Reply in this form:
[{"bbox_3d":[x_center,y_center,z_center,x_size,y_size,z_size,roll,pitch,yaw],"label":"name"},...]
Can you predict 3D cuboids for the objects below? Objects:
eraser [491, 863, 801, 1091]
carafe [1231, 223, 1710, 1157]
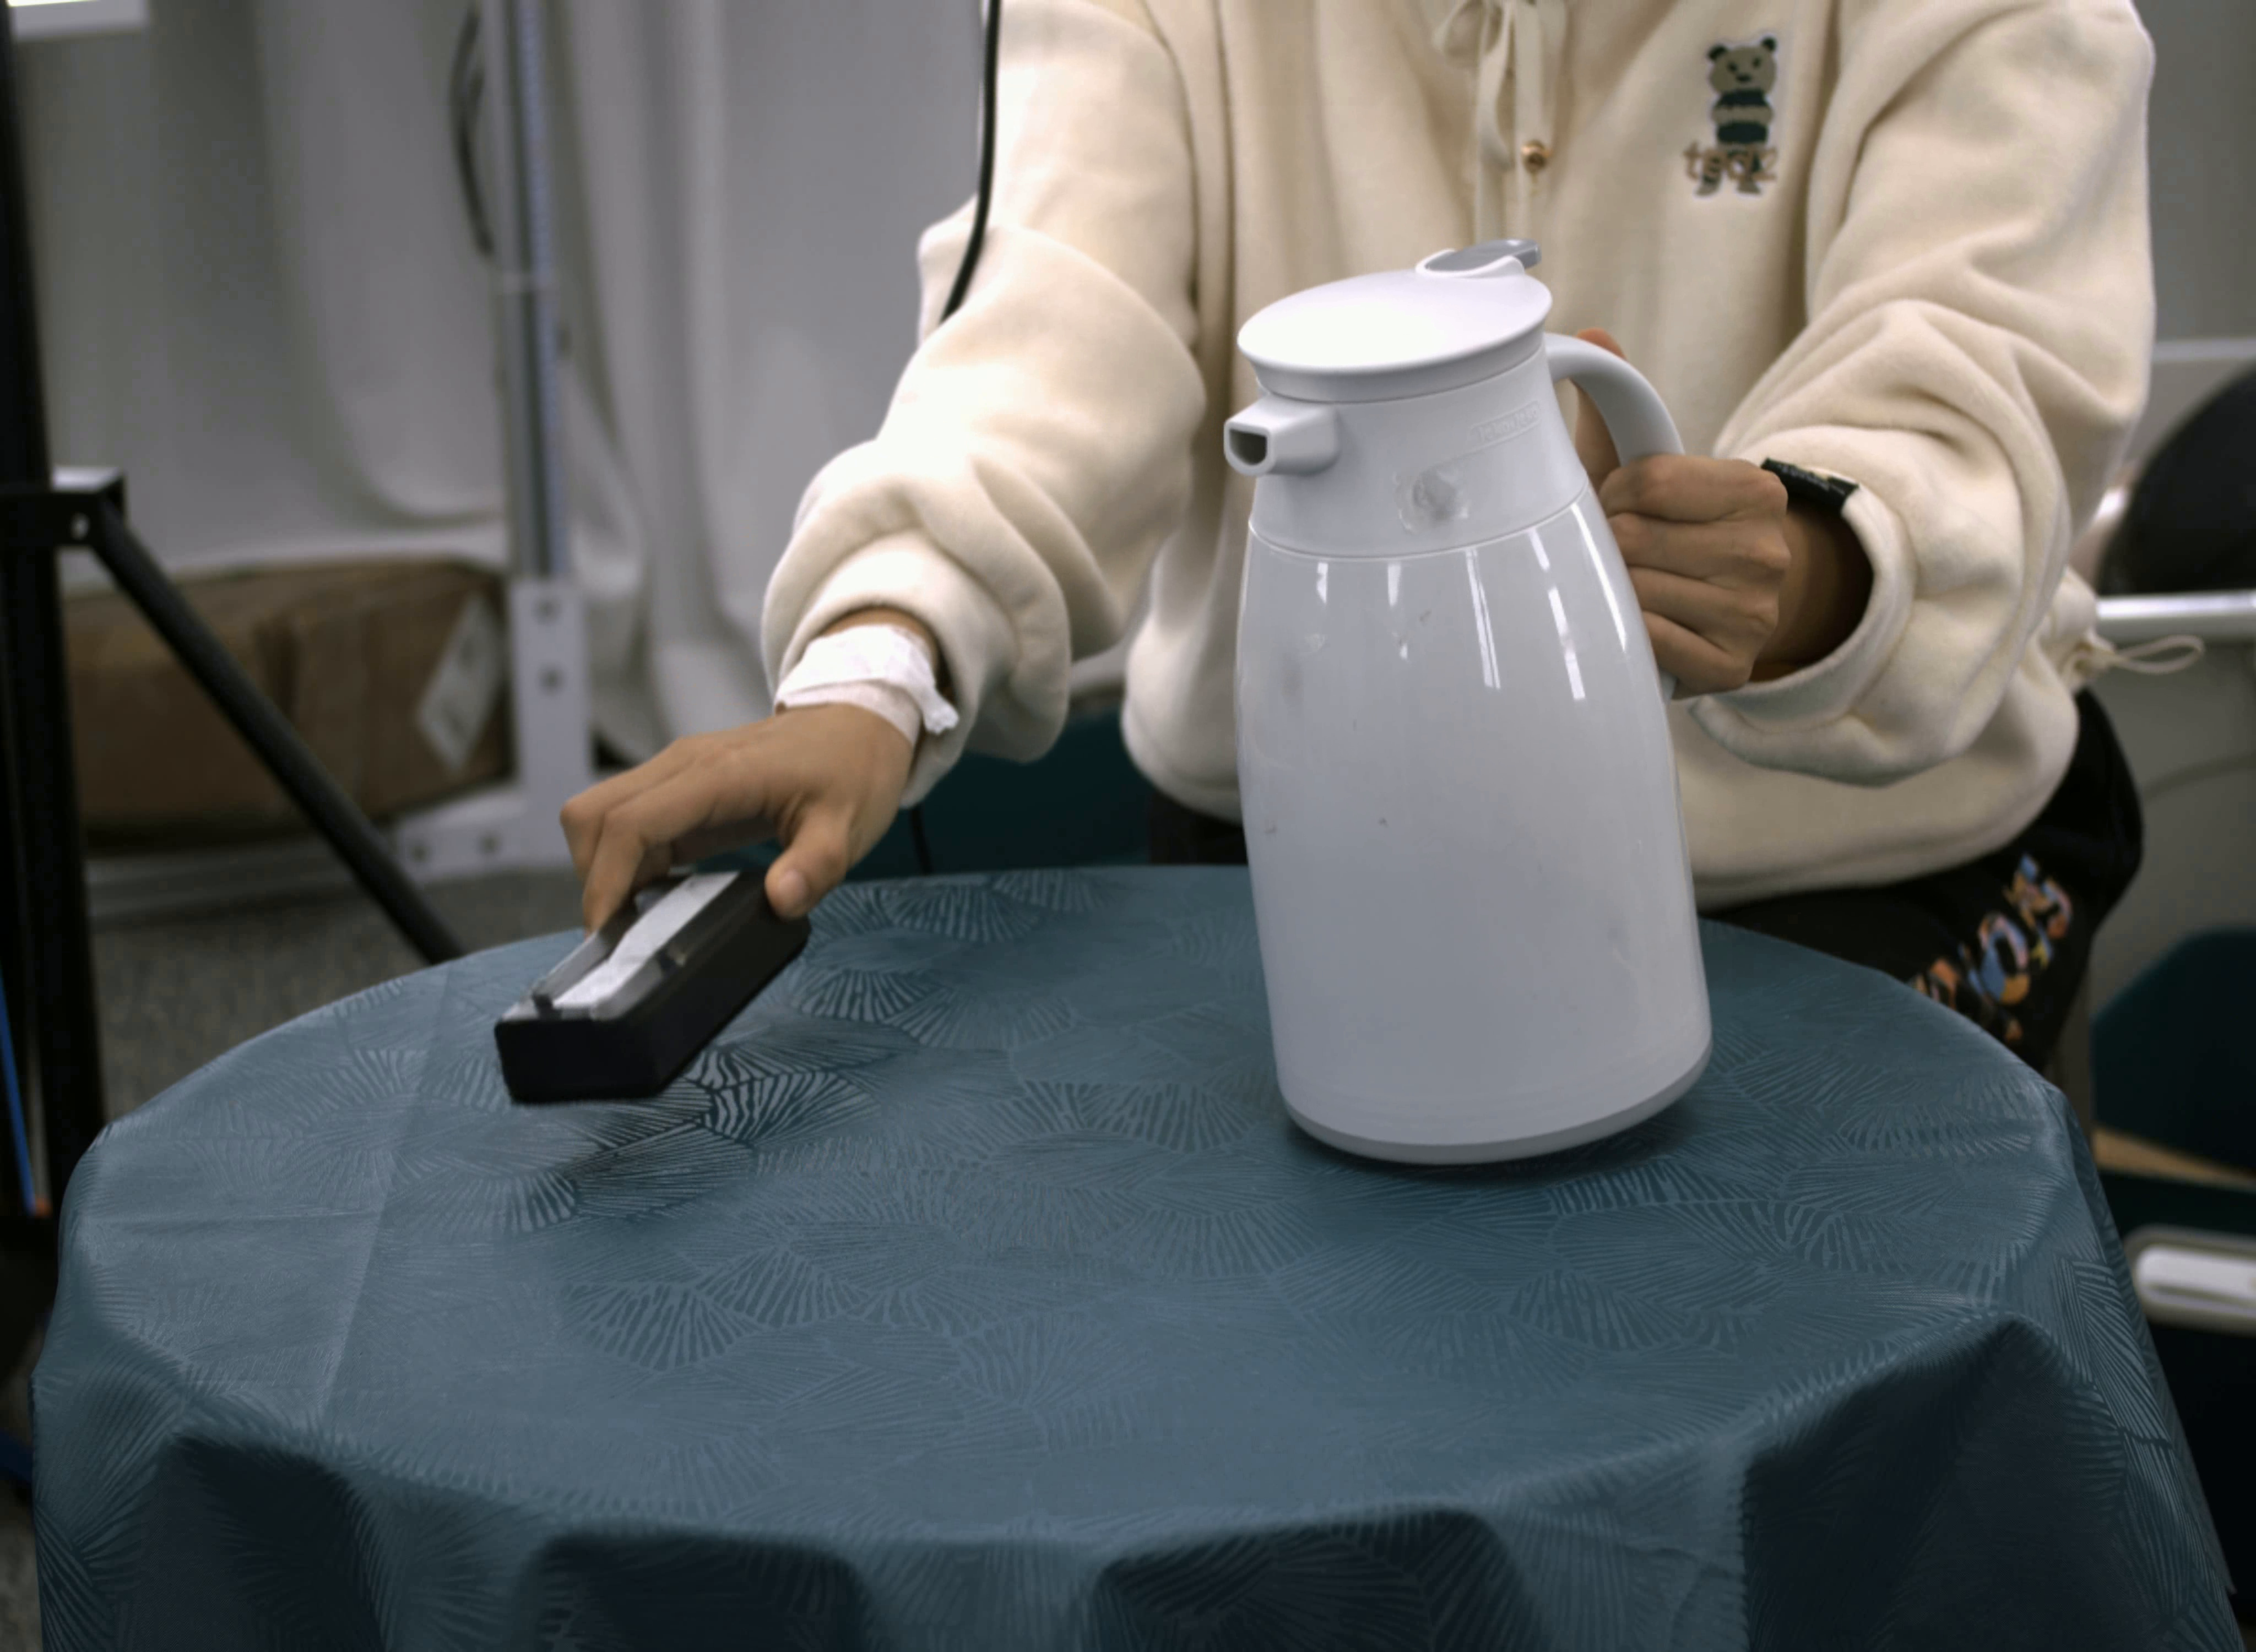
[{"bbox_3d":[-0.144,0.045,1.622,0.054,0.030,0.124,-4,18,20],"label":"eraser"},{"bbox_3d":[0.107,-0.049,1.573,0.164,0.248,0.135,-24,25,-36],"label":"carafe"}]
